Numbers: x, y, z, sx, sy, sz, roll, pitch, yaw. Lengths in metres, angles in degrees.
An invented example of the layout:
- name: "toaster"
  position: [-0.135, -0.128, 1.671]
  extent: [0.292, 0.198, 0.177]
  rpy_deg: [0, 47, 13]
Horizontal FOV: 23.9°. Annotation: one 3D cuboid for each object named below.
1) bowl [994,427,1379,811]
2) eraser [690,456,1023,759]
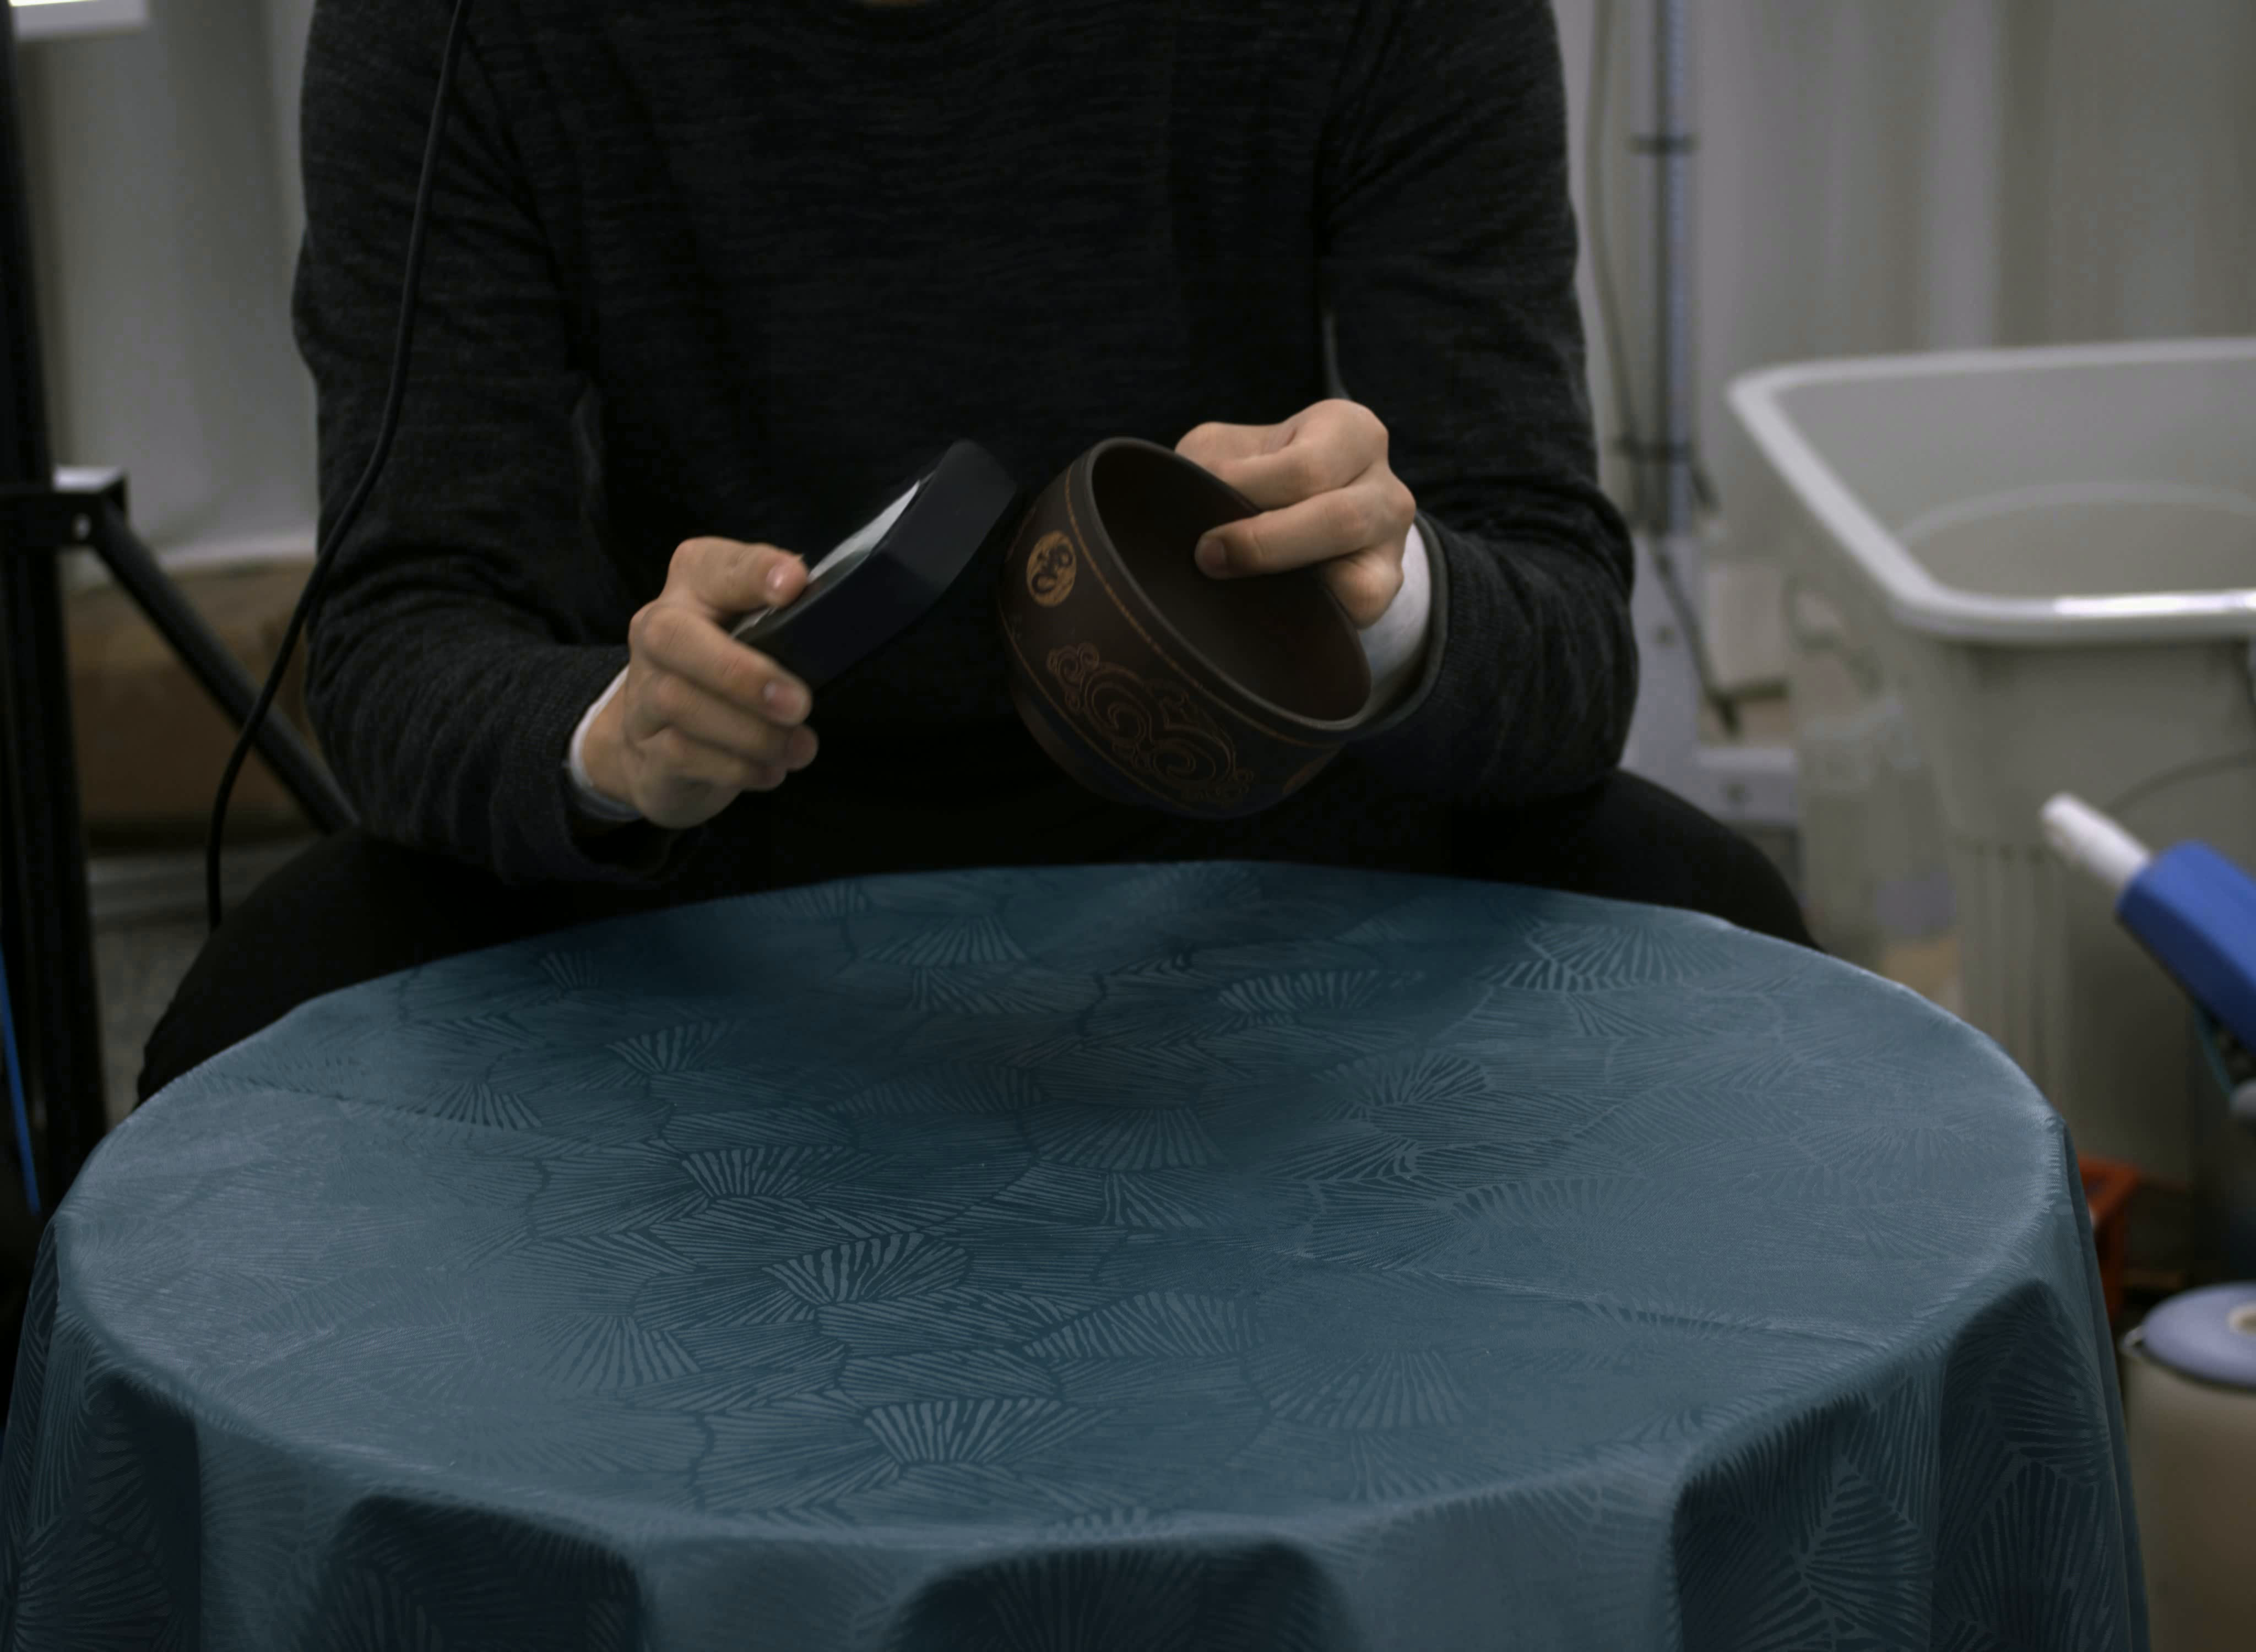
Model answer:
- name: "bowl"
  position: [0.009, -0.052, 1.566]
  extent: [0.116, 0.070, 0.119]
  rpy_deg: [31, 28, -21]
- name: "eraser"
  position: [-0.082, -0.065, 1.590]
  extent: [0.127, 0.030, 0.053]
  rpy_deg: [-33, 16, 52]
